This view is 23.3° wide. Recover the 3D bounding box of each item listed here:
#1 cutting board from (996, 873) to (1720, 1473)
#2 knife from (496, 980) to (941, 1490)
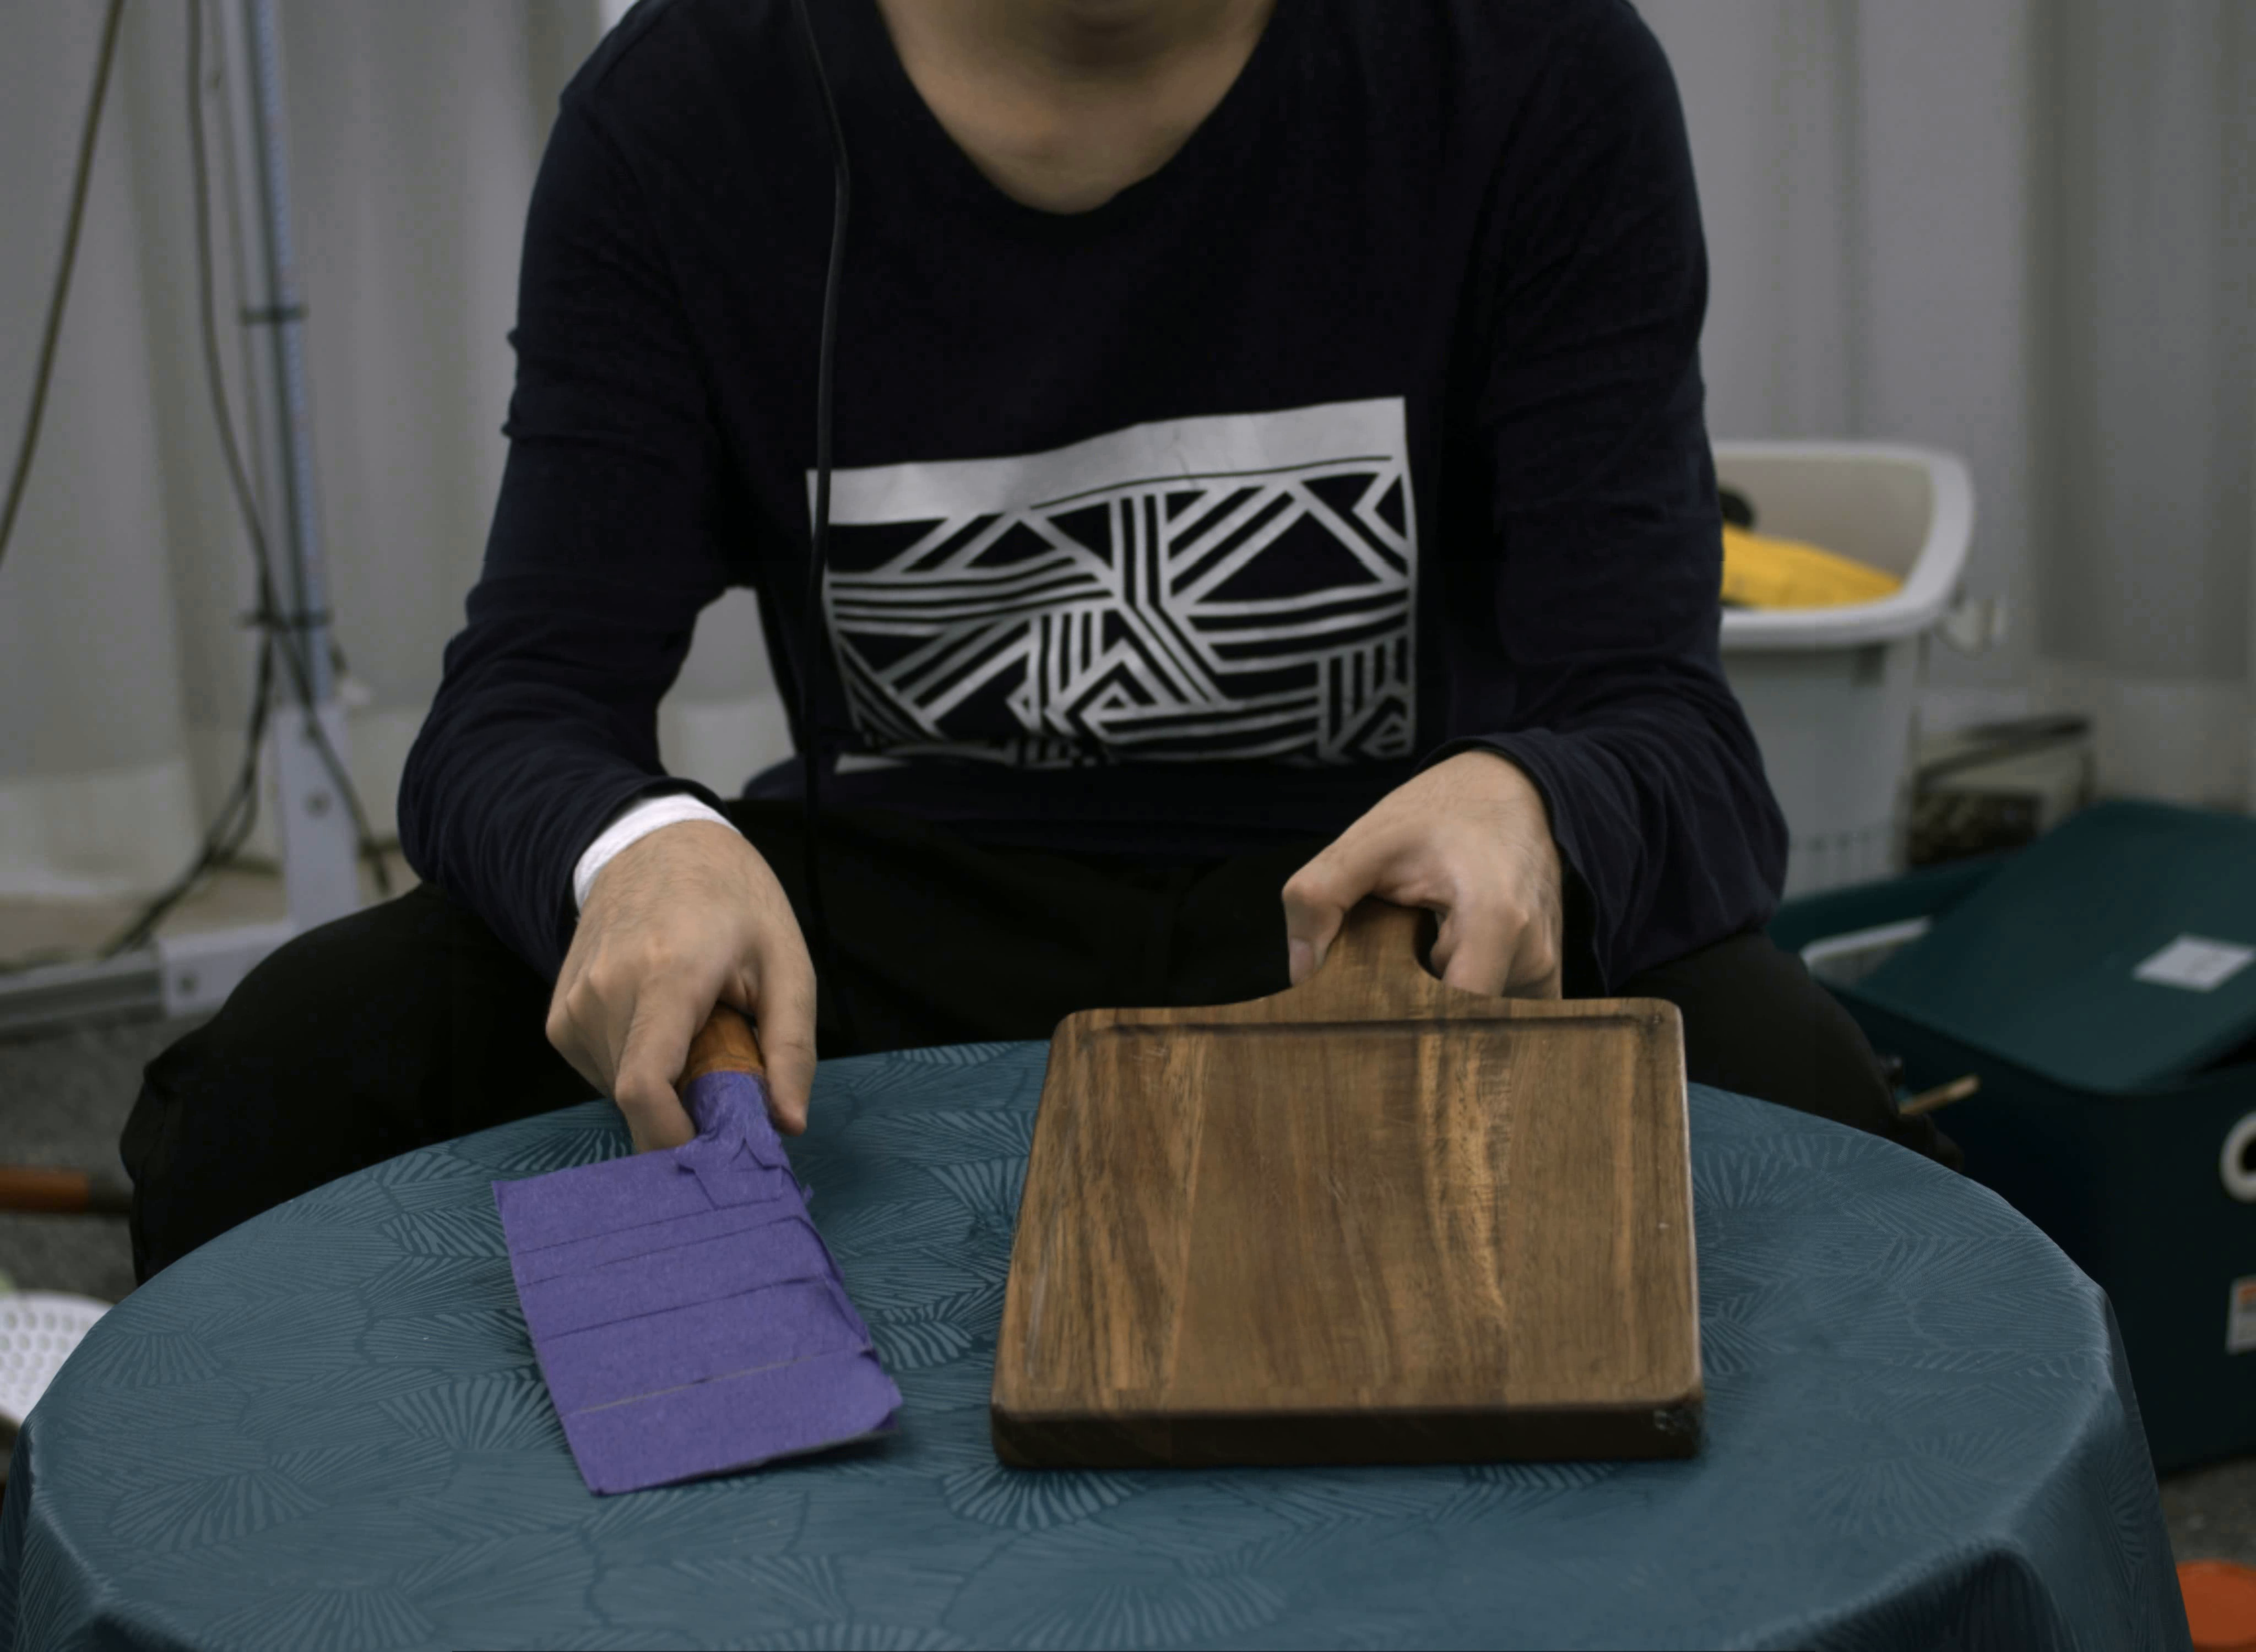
[{"bbox_3d":[0.070,0.095,1.635,0.200,0.023,0.355,-2,23,5],"label":"cutting board"},{"bbox_3d":[-0.138,0.117,1.633,0.103,0.032,0.318,-9,20,-12],"label":"knife"}]
